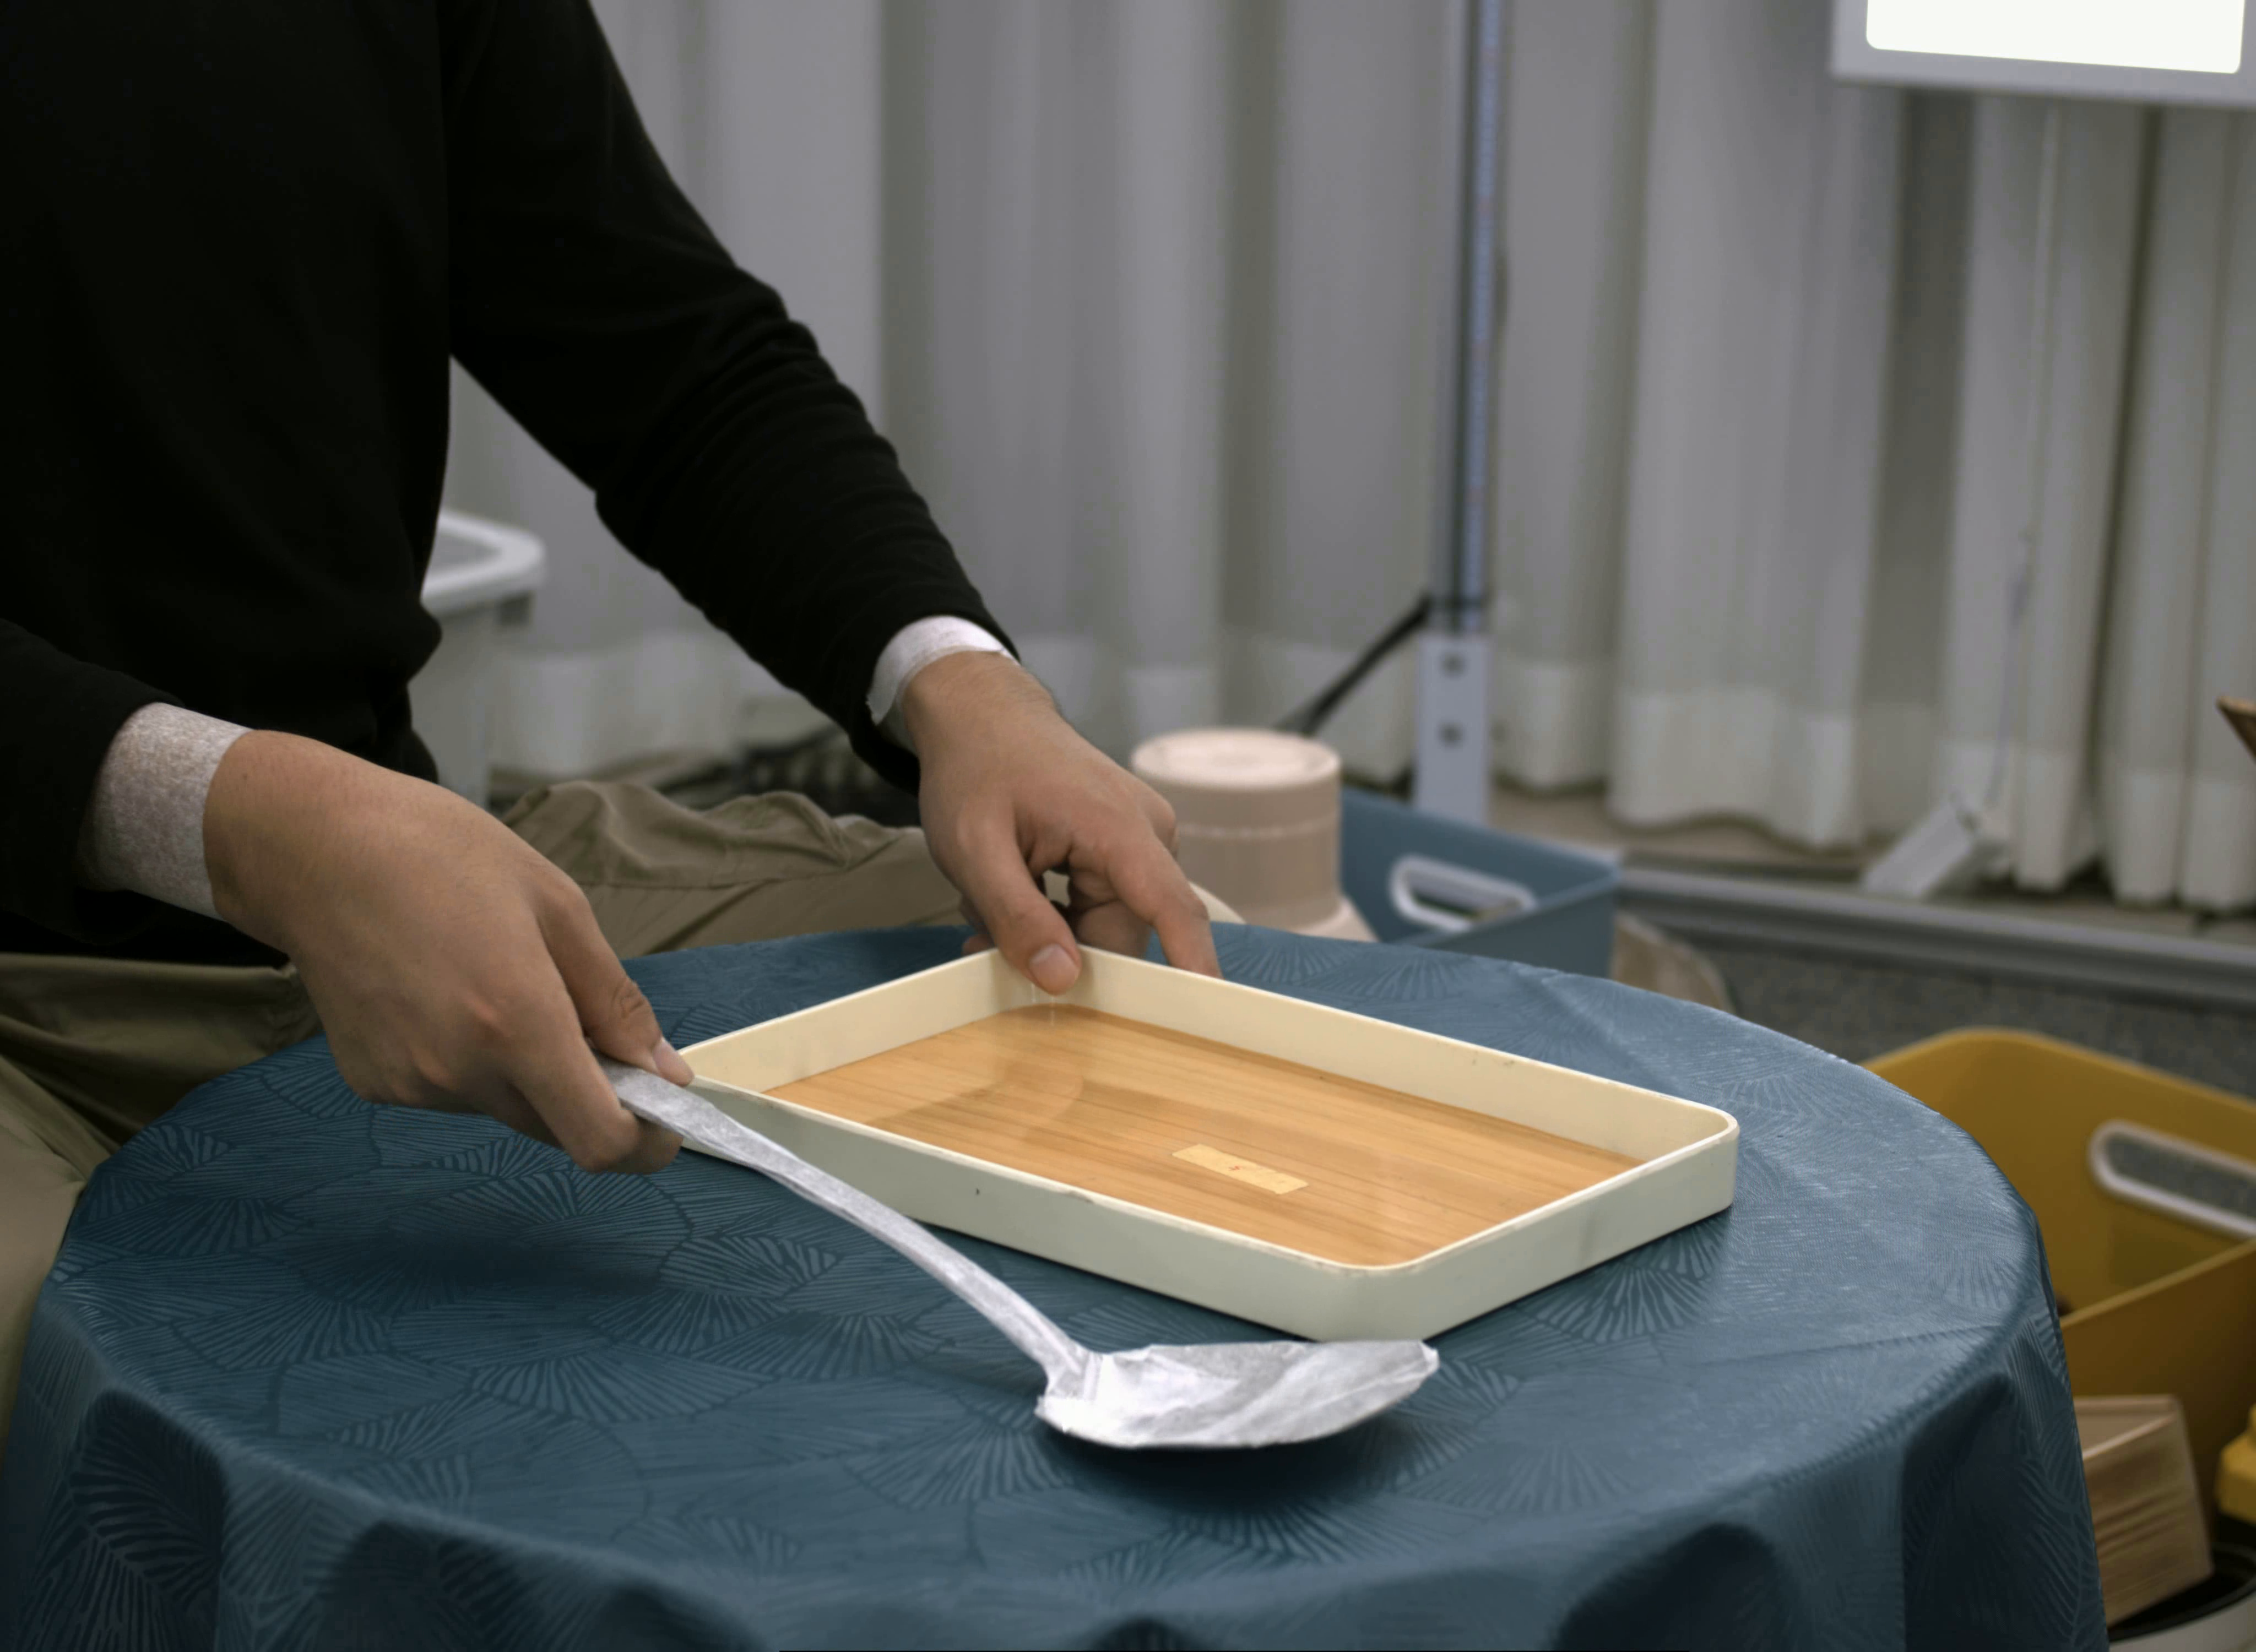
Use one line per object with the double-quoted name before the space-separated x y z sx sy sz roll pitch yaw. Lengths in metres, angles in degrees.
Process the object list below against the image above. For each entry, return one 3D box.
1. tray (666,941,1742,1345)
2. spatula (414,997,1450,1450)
"tray" 0.021 0.094 1.637 0.296 0.027 0.192 13 20 39
"spatula" -0.076 0.104 1.490 0.360 0.045 0.099 26 27 29
